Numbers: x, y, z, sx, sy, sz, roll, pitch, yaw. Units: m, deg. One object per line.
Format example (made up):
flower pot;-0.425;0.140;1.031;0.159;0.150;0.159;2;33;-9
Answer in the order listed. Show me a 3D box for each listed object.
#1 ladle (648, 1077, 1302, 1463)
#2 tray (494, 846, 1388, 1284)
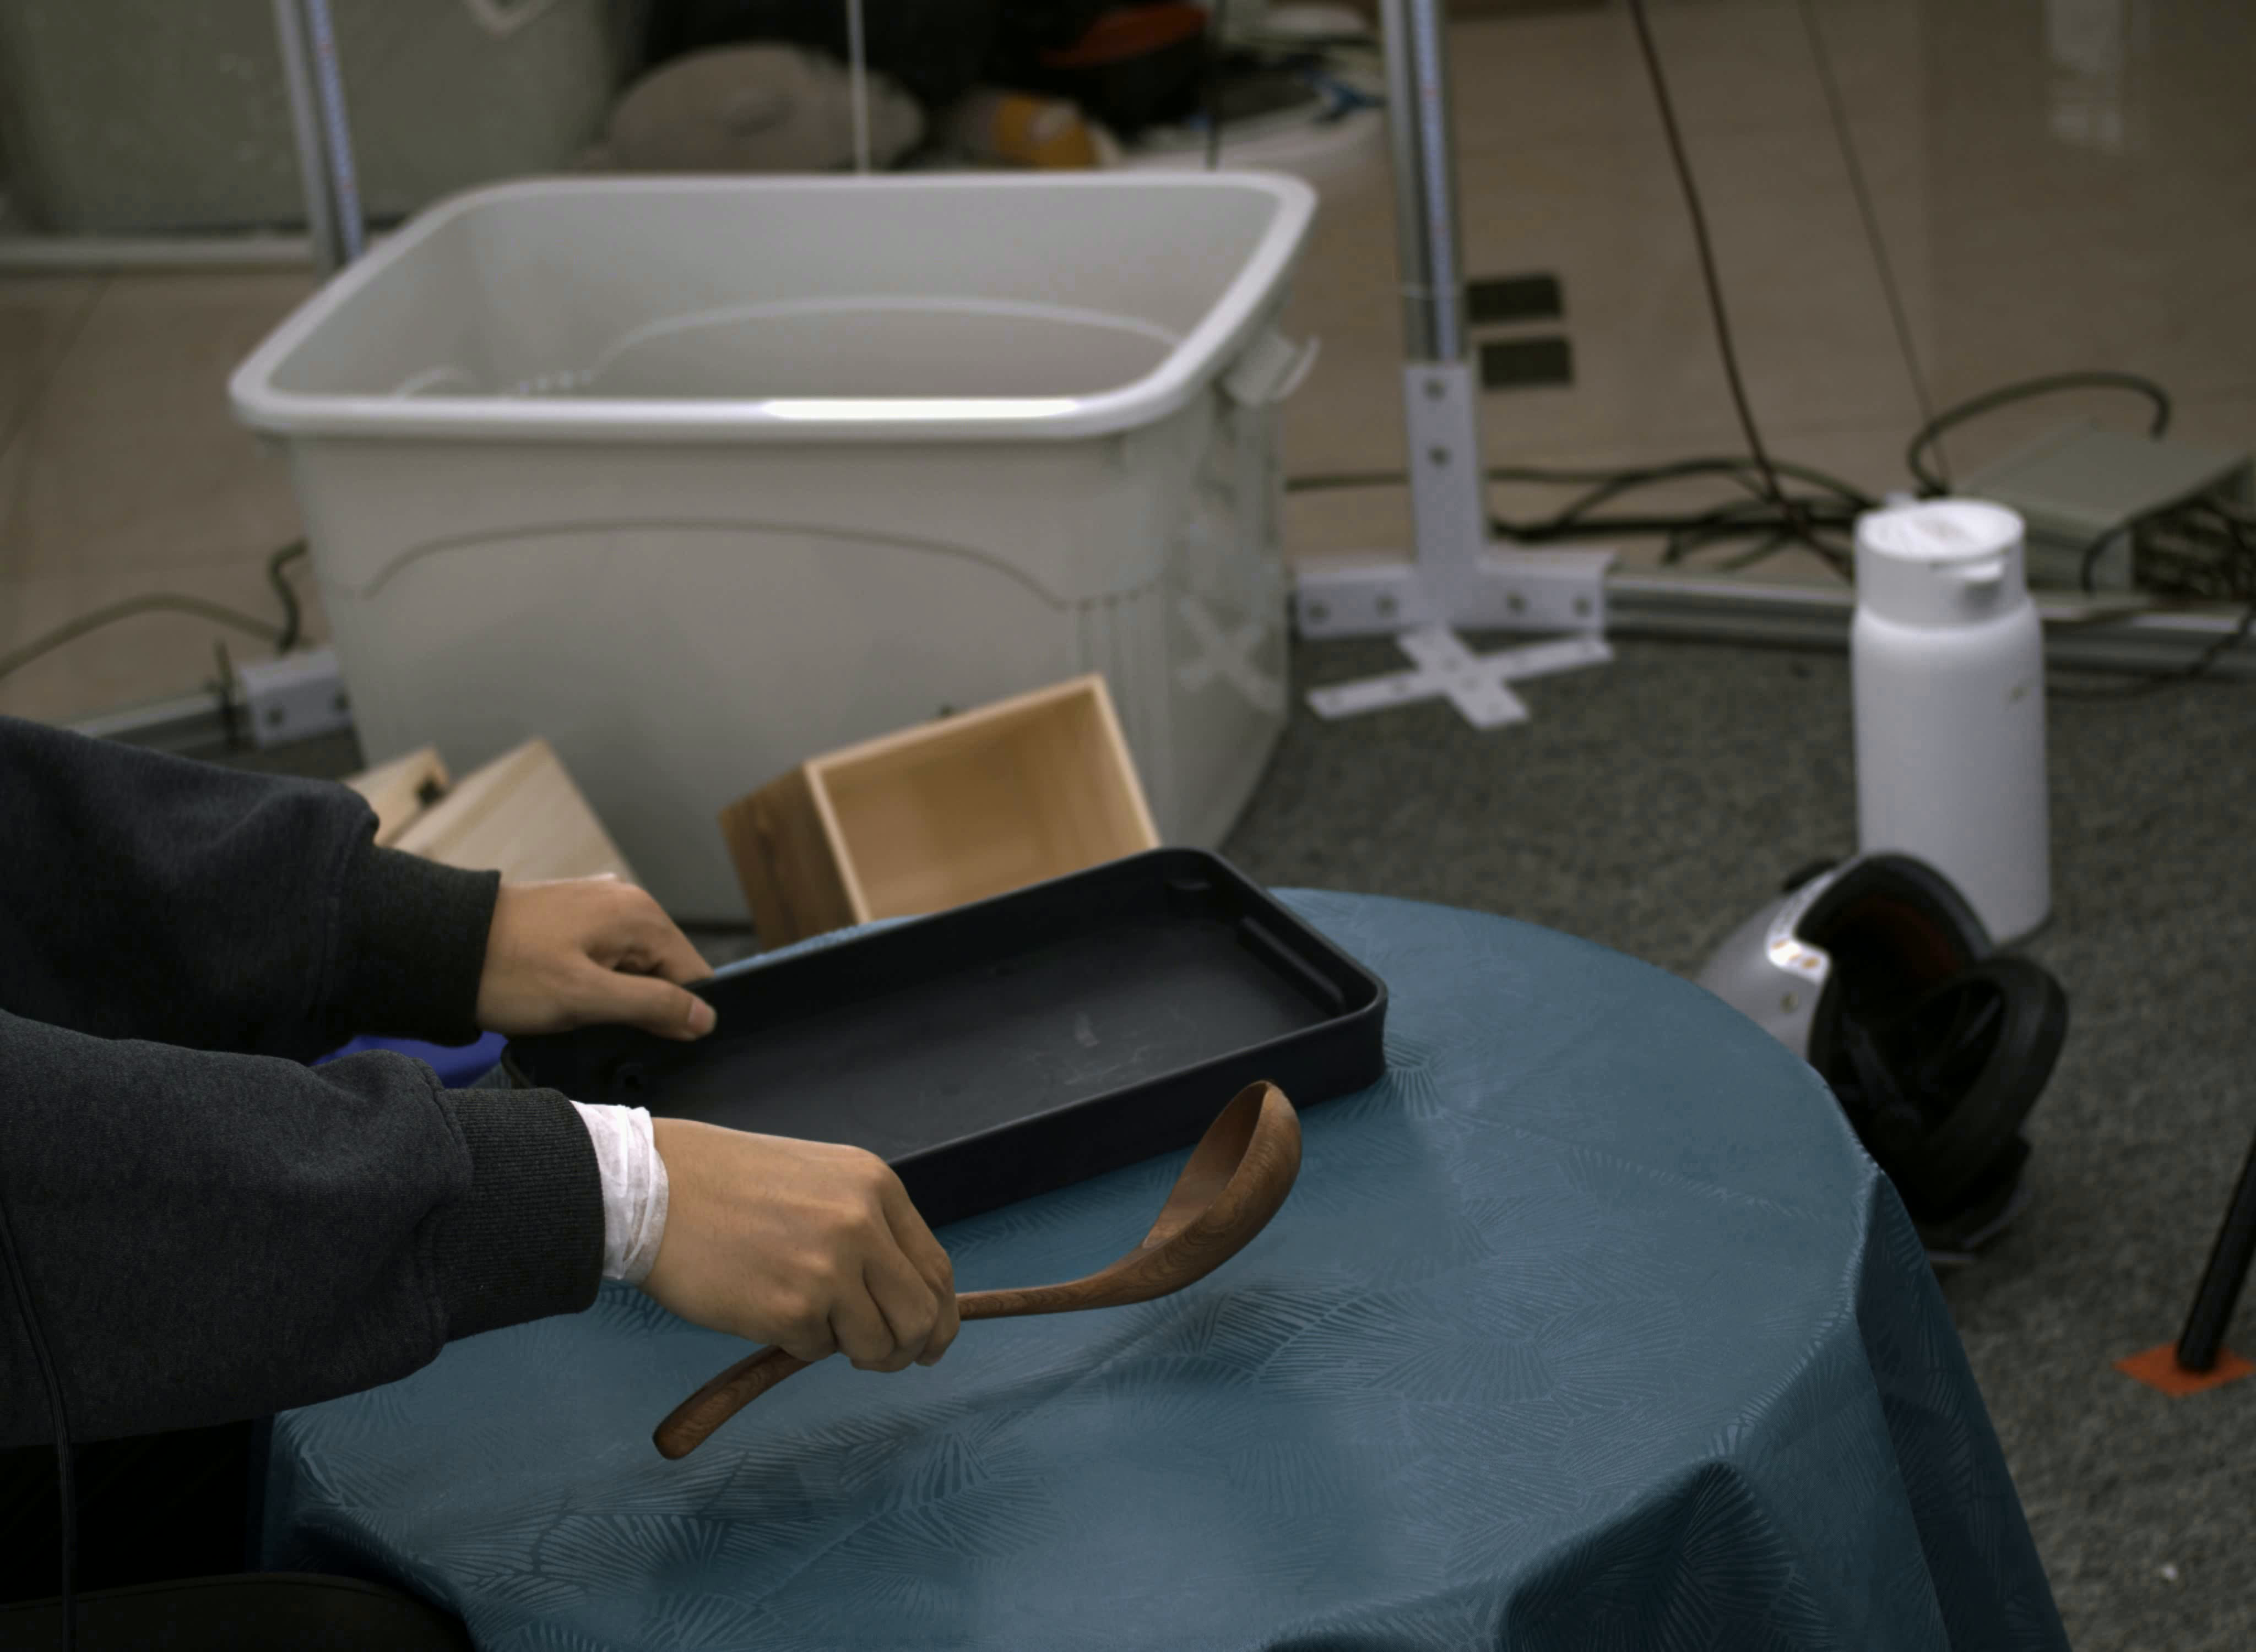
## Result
ladle;-0.056;0.155;2.010;0.259;0.065;0.077;-17;-3;-16
tray;-0.072;0.089;2.215;0.316;0.037;0.182;-15;28;-22
